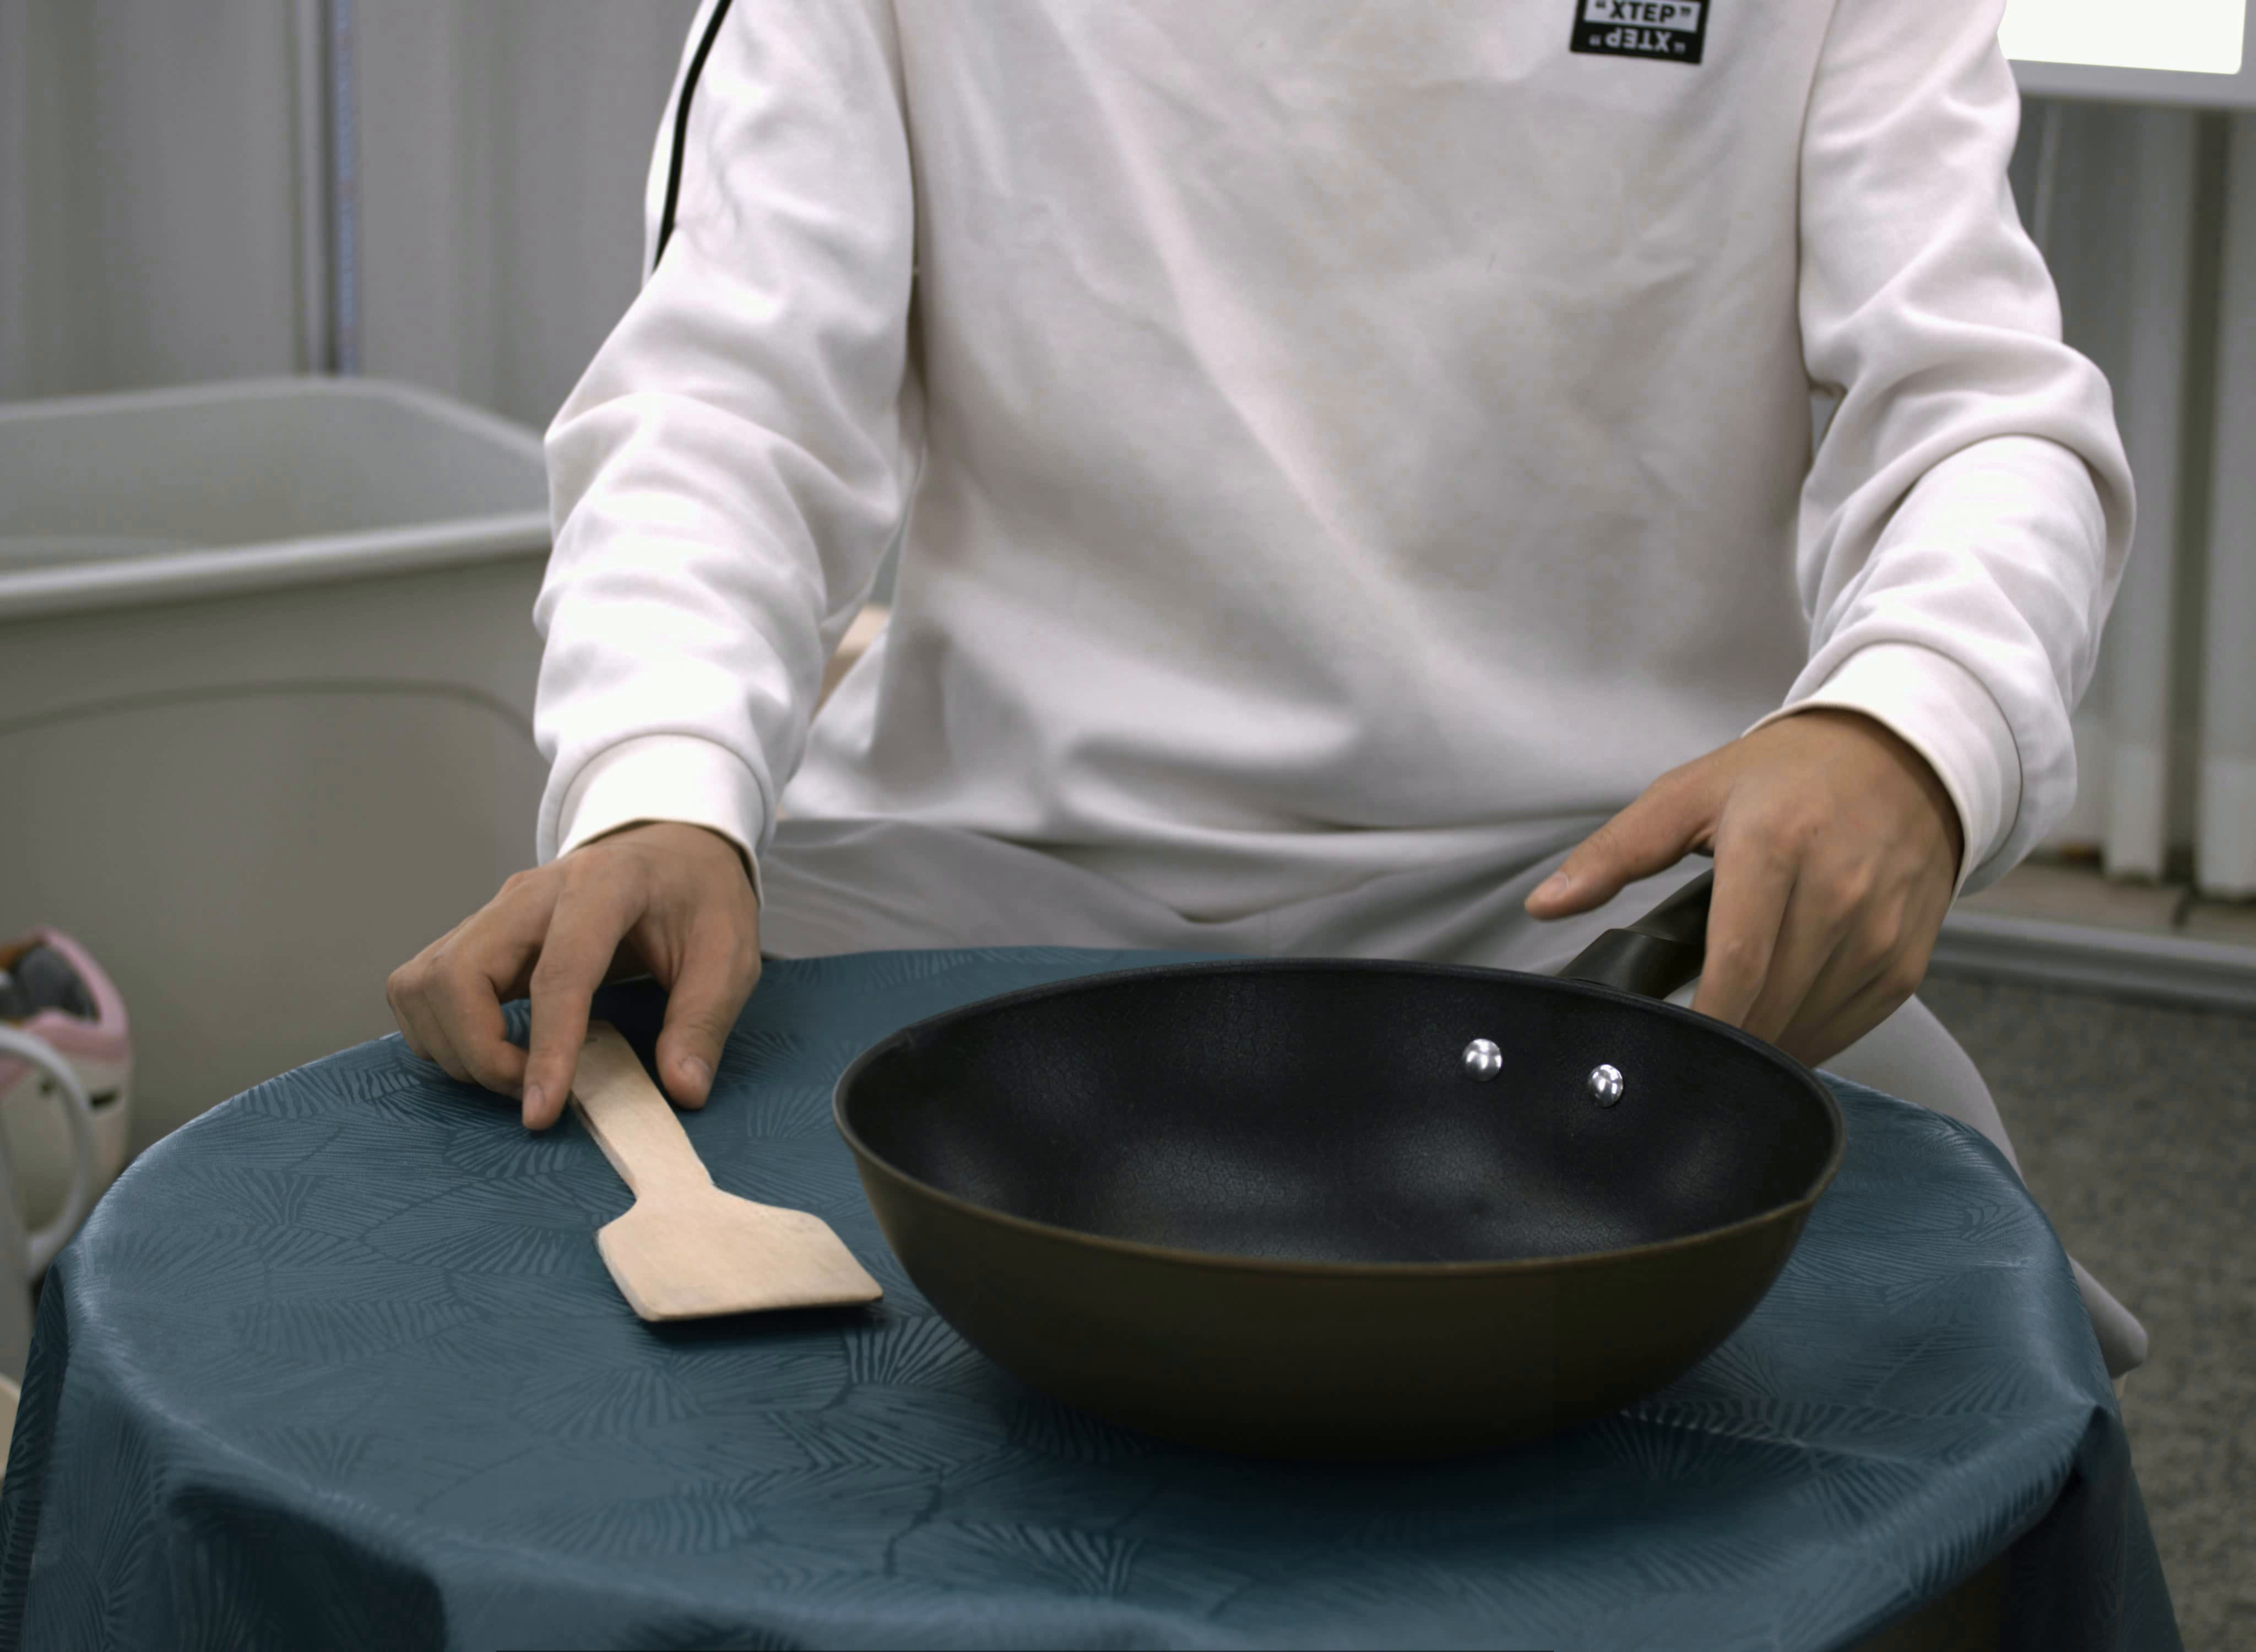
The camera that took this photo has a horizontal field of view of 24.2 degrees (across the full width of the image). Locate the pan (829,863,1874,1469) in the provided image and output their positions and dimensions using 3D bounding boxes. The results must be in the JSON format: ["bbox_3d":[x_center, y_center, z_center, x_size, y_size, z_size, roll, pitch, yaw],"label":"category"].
[{"bbox_3d":[0.105,0.094,1.547,0.284,0.087,0.465,11,17,30],"label":"pan"}]

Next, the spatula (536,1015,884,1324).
[{"bbox_3d":[-0.146,0.104,1.637,0.072,0.011,0.290,-5,16,-17],"label":"spatula"}]
